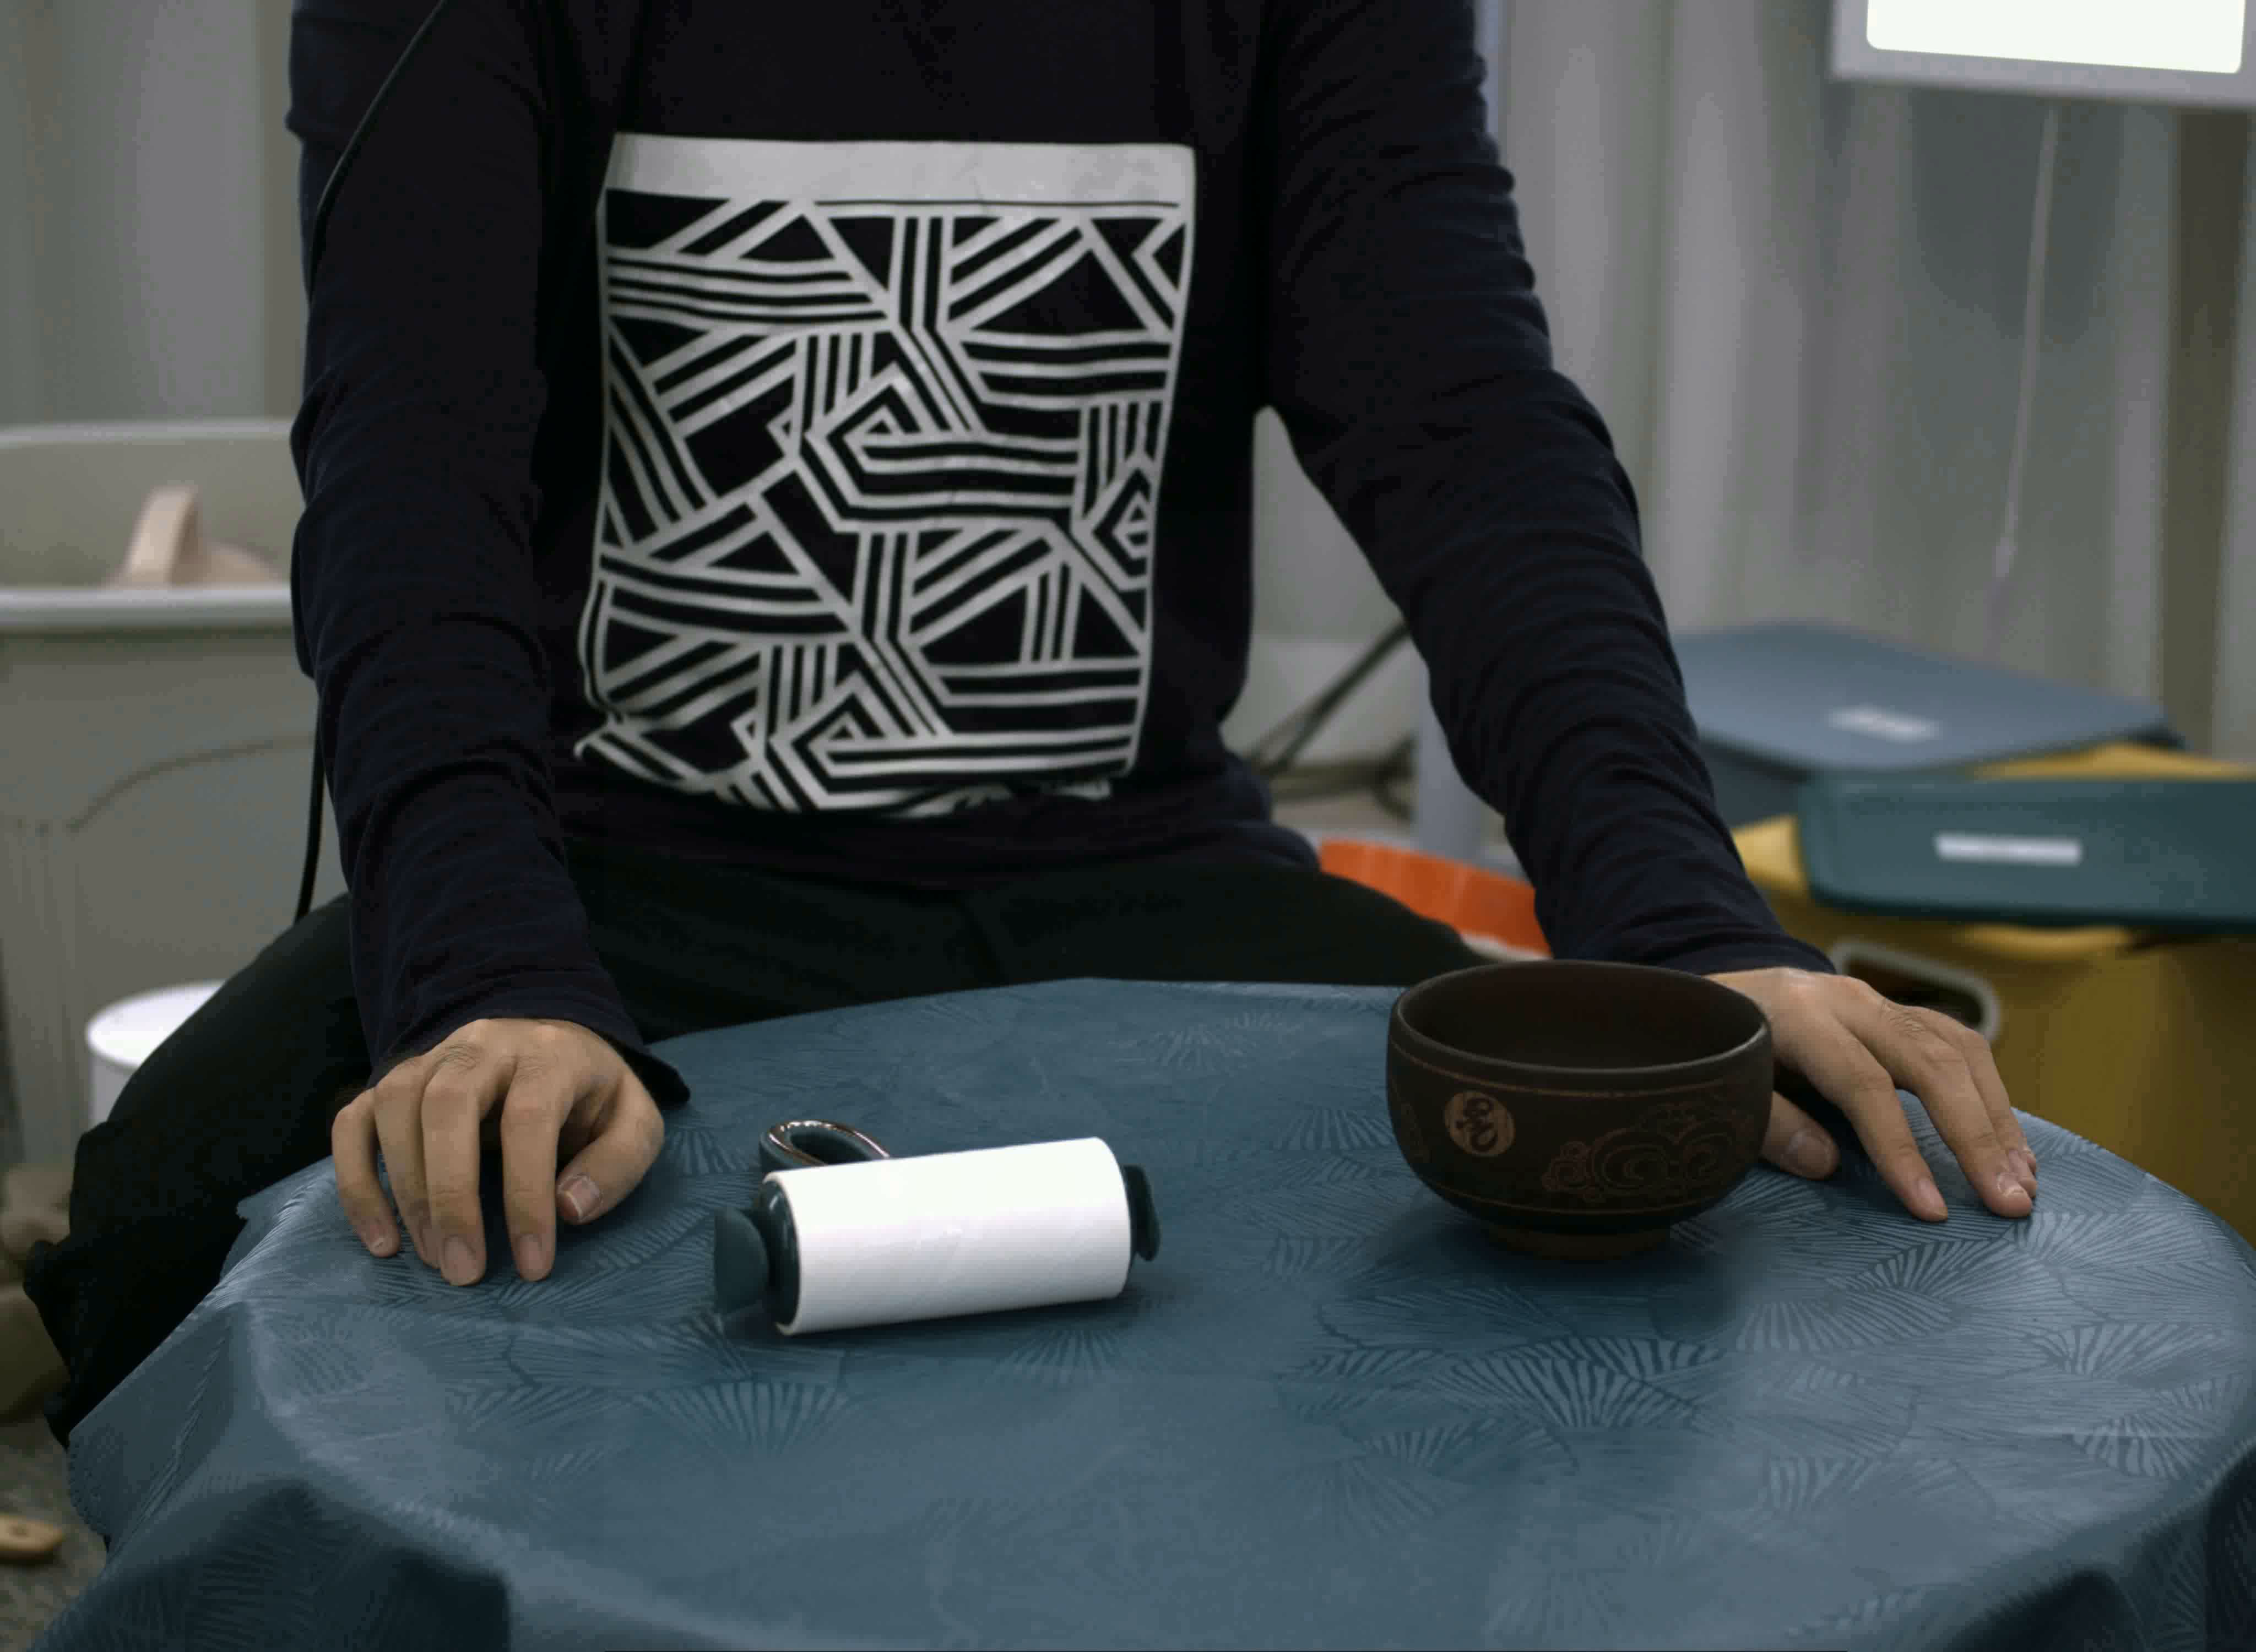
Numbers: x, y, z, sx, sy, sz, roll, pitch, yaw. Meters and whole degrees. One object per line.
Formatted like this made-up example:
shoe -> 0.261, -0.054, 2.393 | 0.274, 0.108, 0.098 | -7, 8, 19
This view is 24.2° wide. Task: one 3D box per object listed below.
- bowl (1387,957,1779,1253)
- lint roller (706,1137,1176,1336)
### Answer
bowl -> 0.137, 0.087, 1.584 | 0.117, 0.070, 0.117 | -1, 14, 1
lint roller -> -0.077, 0.105, 1.575 | 0.134, 0.048, 0.178 | -5, 14, -20
